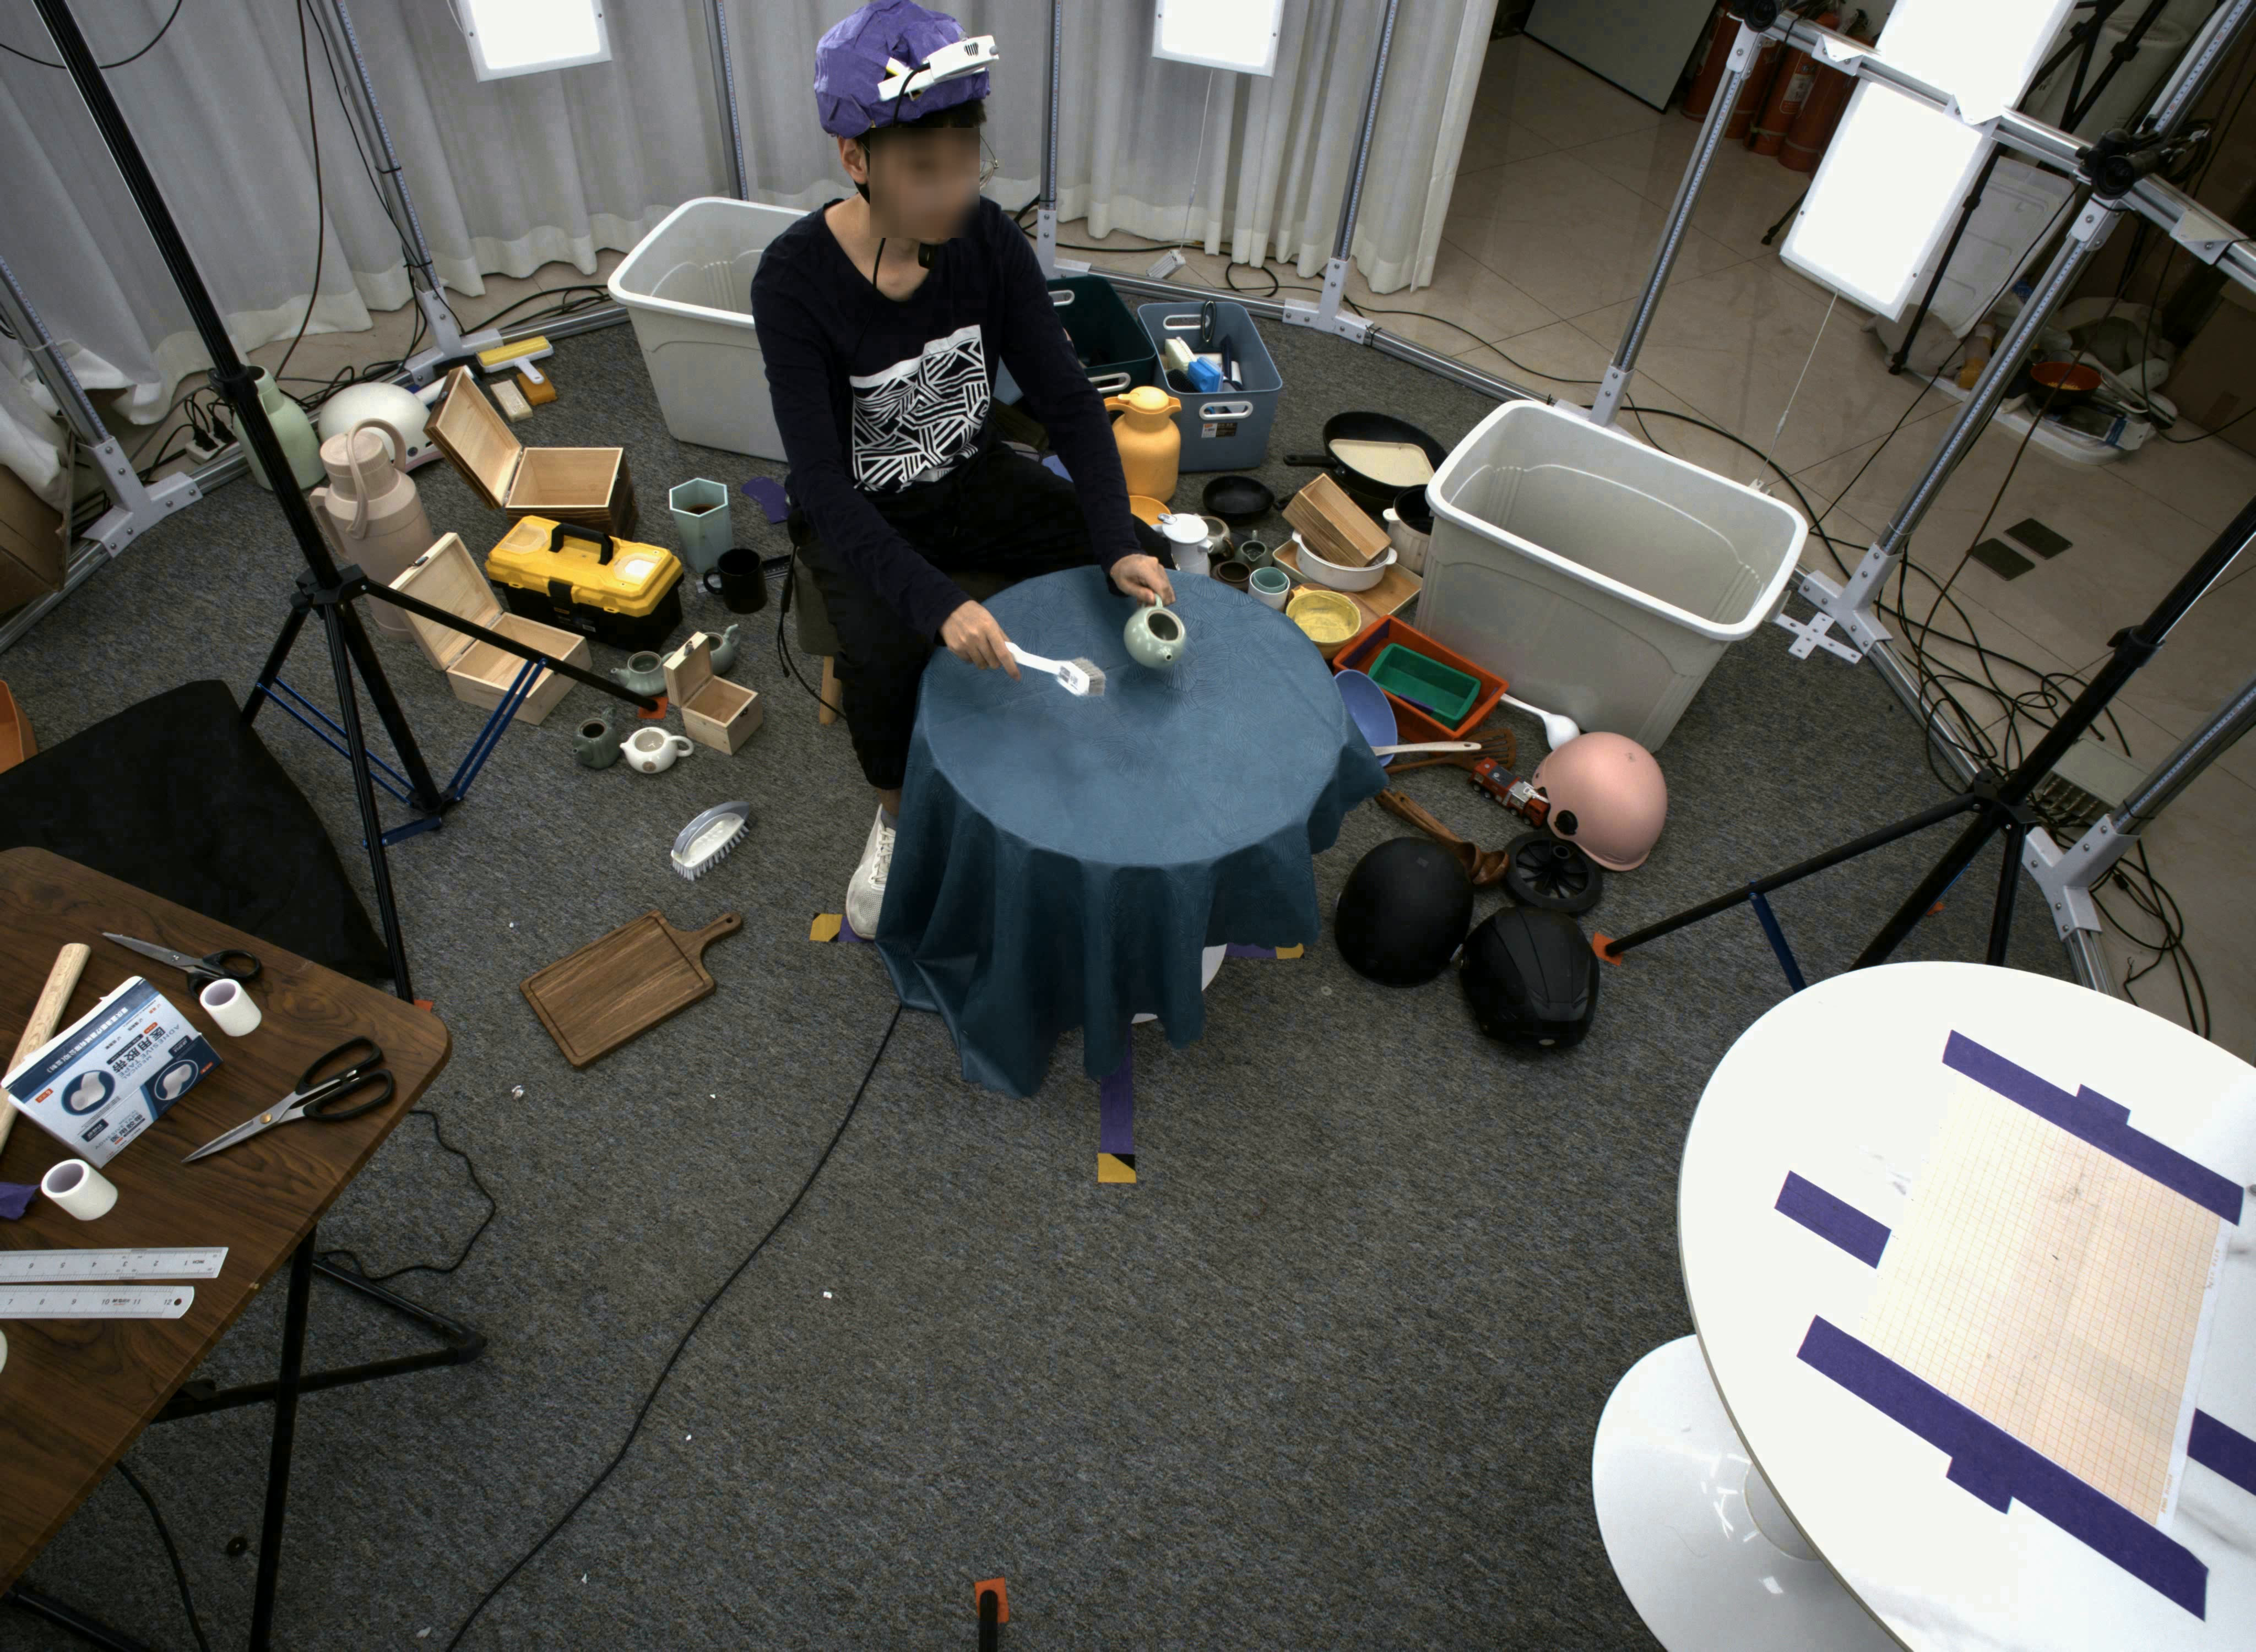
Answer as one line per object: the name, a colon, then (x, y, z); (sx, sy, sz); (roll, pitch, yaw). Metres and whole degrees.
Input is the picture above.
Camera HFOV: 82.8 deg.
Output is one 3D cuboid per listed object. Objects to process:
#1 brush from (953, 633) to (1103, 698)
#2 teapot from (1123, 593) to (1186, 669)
brush: (-0.135, -0.225, 1.740); (0.246, 0.034, 0.050); (23, 33, 31)
teapot: (0.037, -0.275, 1.826); (0.091, 0.060, 0.131); (8, 58, -17)
